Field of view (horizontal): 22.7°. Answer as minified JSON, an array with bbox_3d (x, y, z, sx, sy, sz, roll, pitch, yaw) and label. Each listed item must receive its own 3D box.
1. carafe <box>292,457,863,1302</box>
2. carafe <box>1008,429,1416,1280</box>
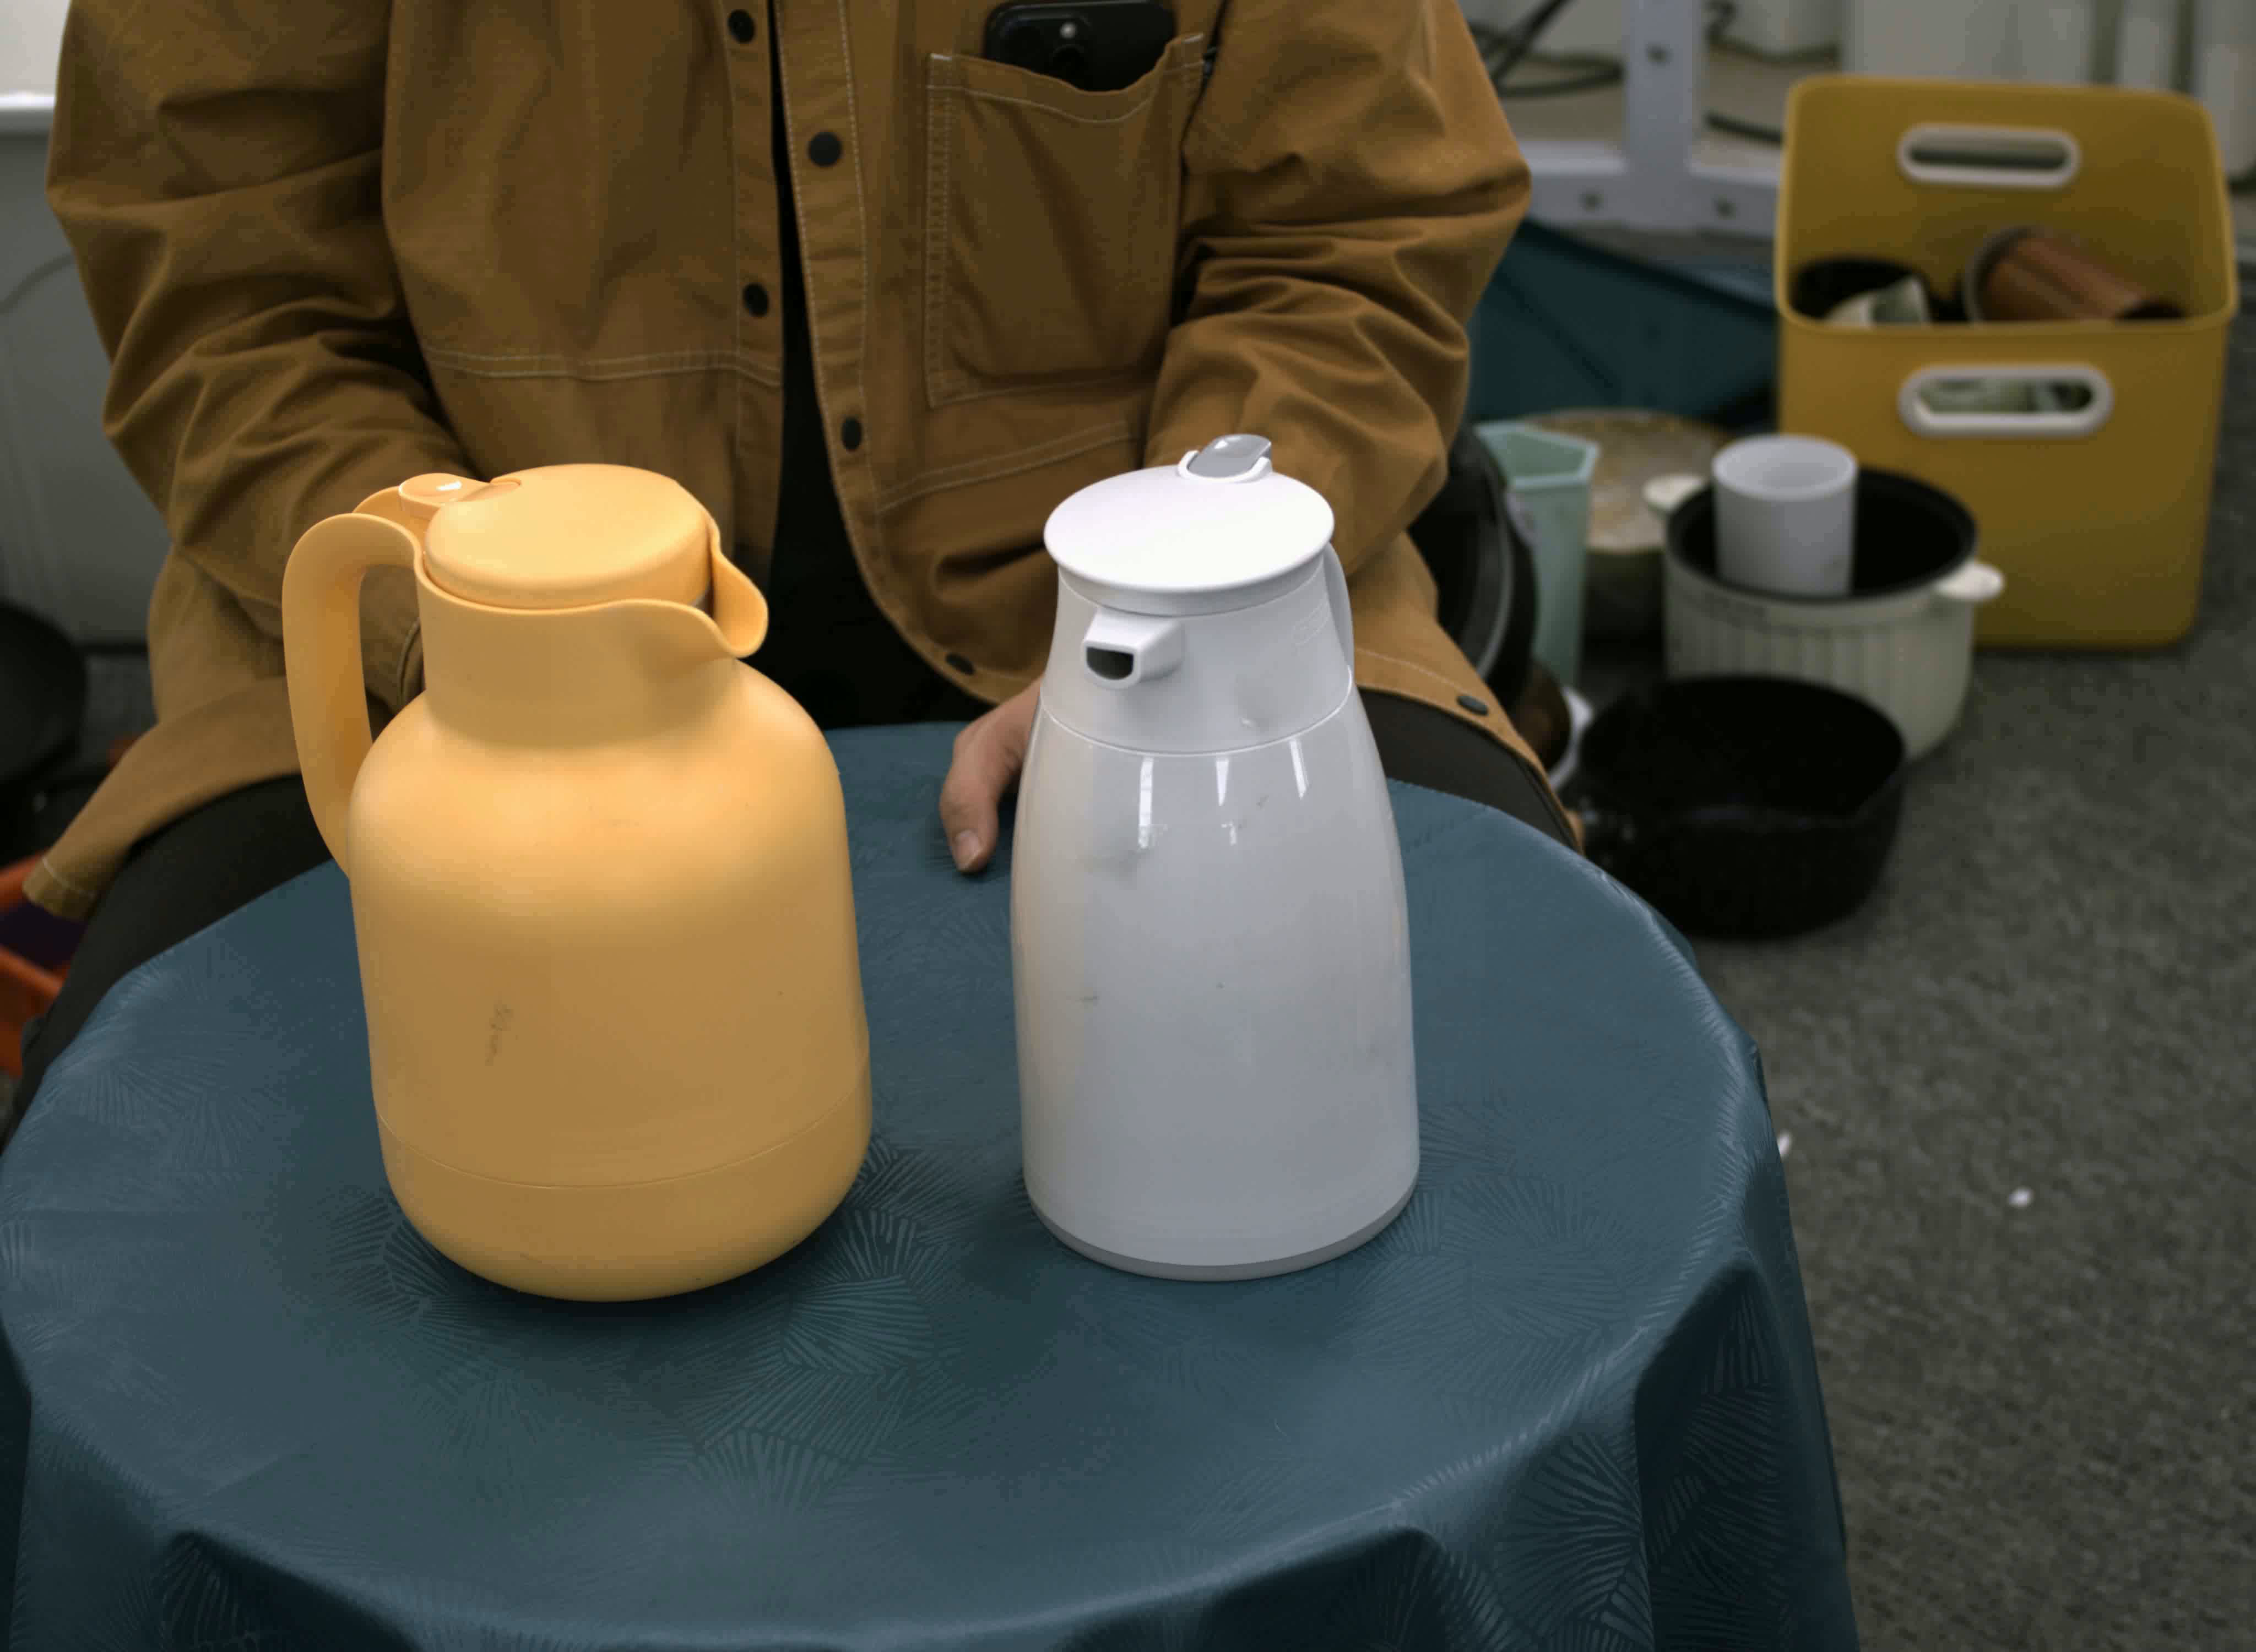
[{"bbox_3d":[-0.184,0.007,1.819,0.202,0.258,0.165,18,31,34],"label":"carafe"},{"bbox_3d":[0.031,-0.002,1.828,0.131,0.246,0.170,8,28,22],"label":"carafe"}]
